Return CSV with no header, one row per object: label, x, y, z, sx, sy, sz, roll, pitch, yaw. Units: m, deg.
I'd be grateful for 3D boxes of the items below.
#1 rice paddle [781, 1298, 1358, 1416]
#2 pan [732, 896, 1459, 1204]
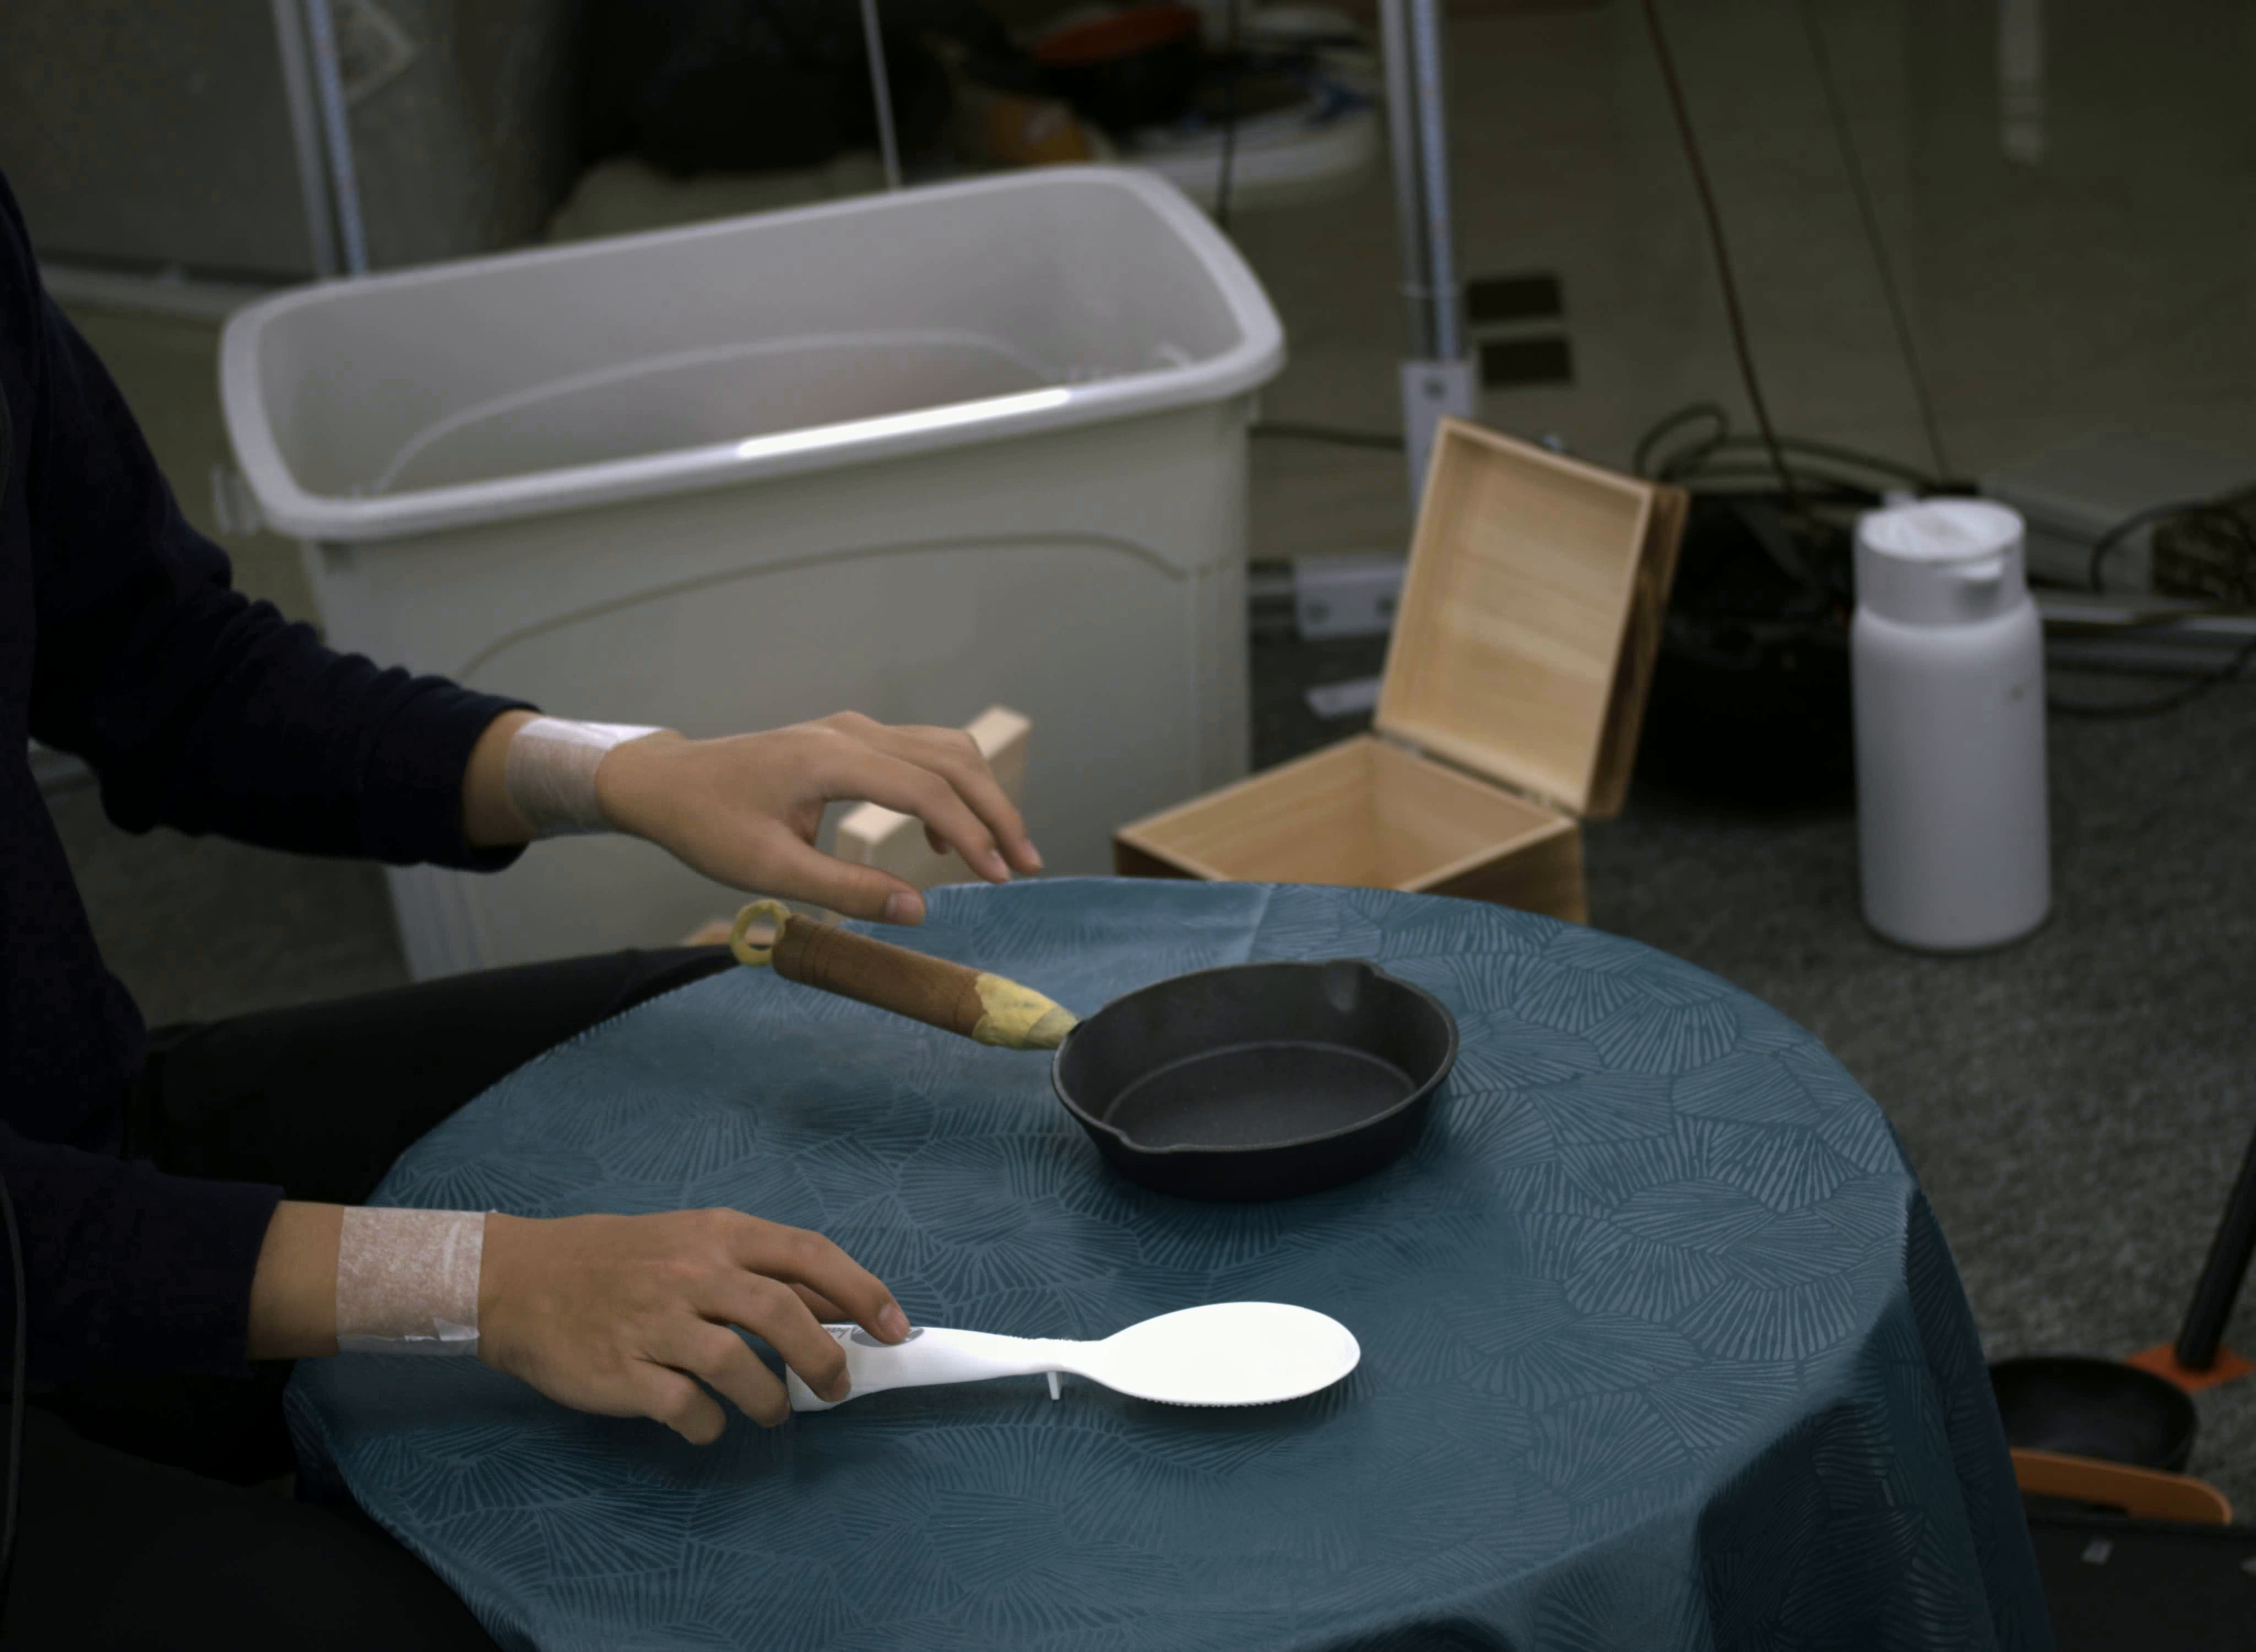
rice paddle,-0.020,0.188,2.013,0.205,0.030,0.068,-3,27,8
pan,-0.021,0.079,2.218,0.322,0.050,0.167,12,31,32
